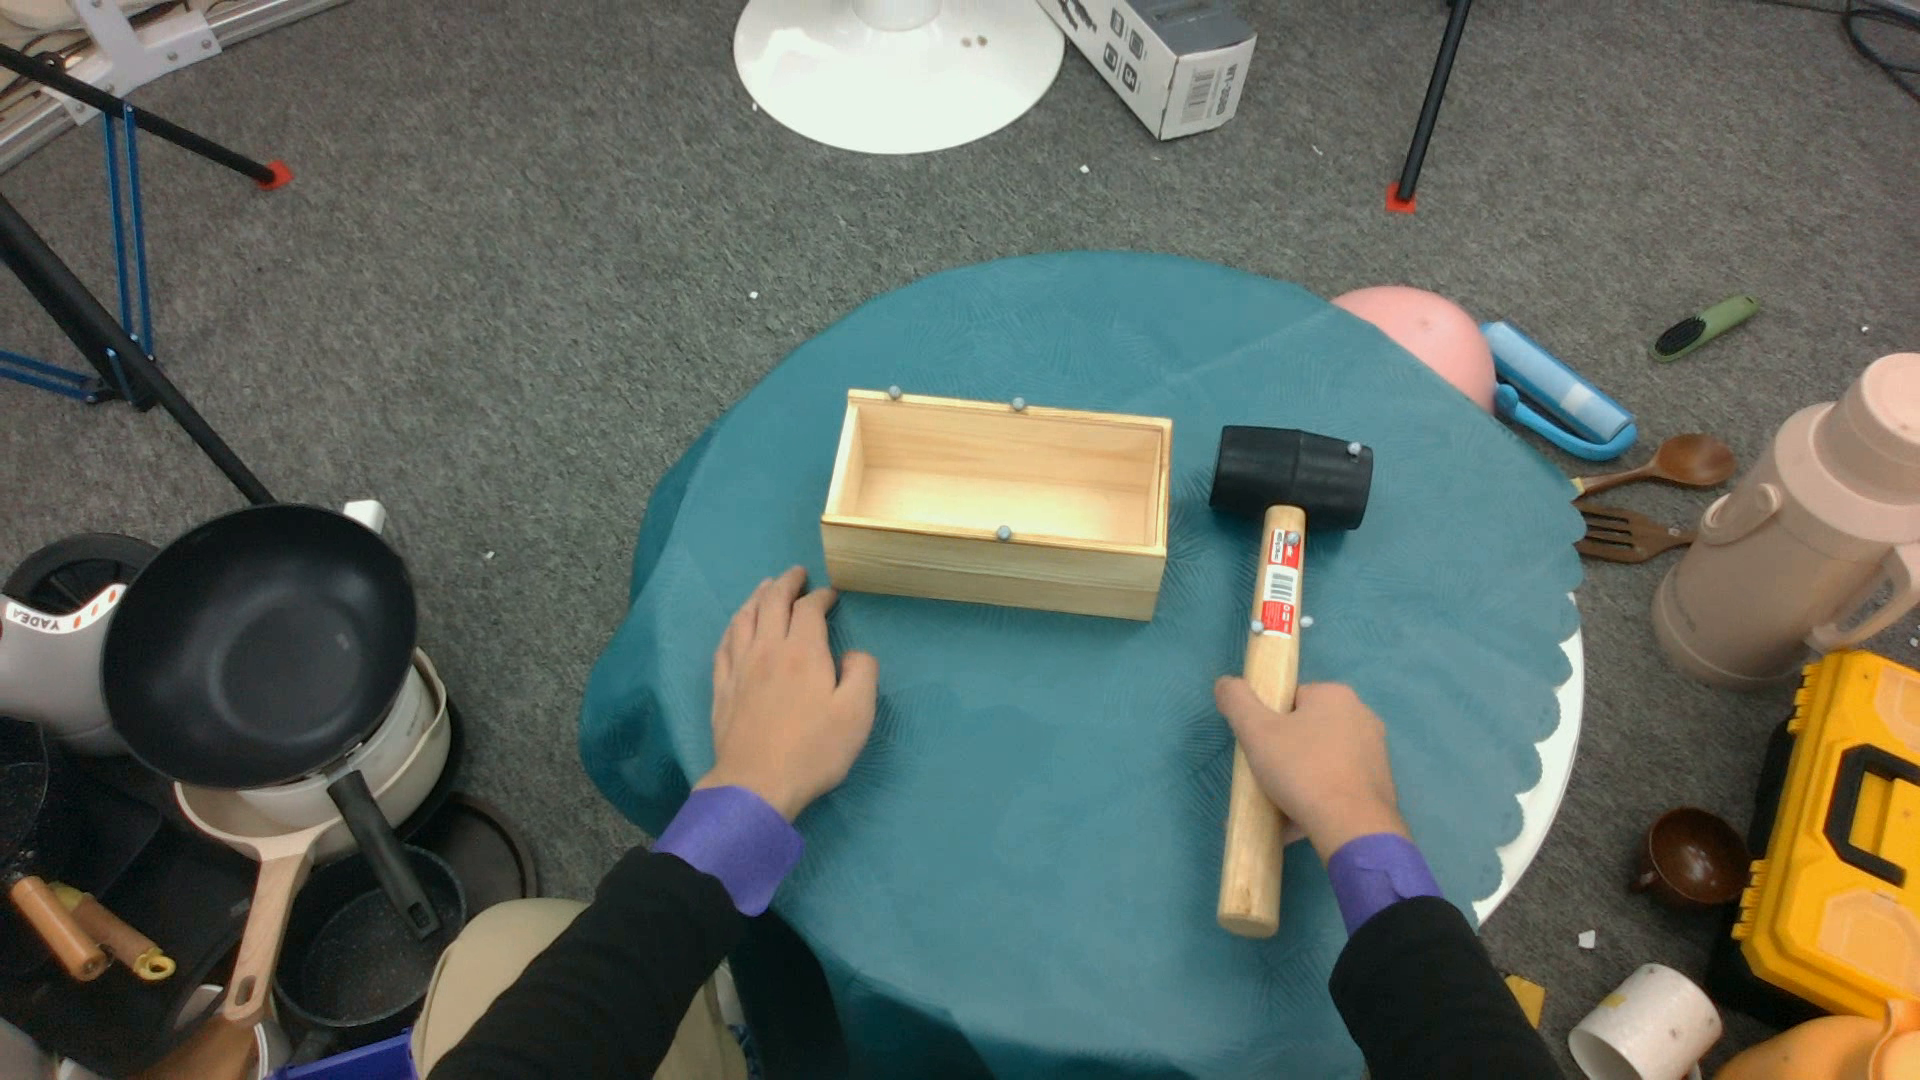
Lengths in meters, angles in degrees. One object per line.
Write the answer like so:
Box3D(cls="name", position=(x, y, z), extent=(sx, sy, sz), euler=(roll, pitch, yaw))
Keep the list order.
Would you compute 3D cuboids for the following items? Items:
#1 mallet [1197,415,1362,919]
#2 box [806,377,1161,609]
Box3D(cls="mallet", position=(0.180, 0.058, 0.826), extent=(0.102, 0.064, 0.340), euler=(8, 53, 10))
Box3D(cls="box", position=(0.017, -0.030, 0.886), extent=(0.211, 0.080, 0.108), euler=(5, 58, 3))
